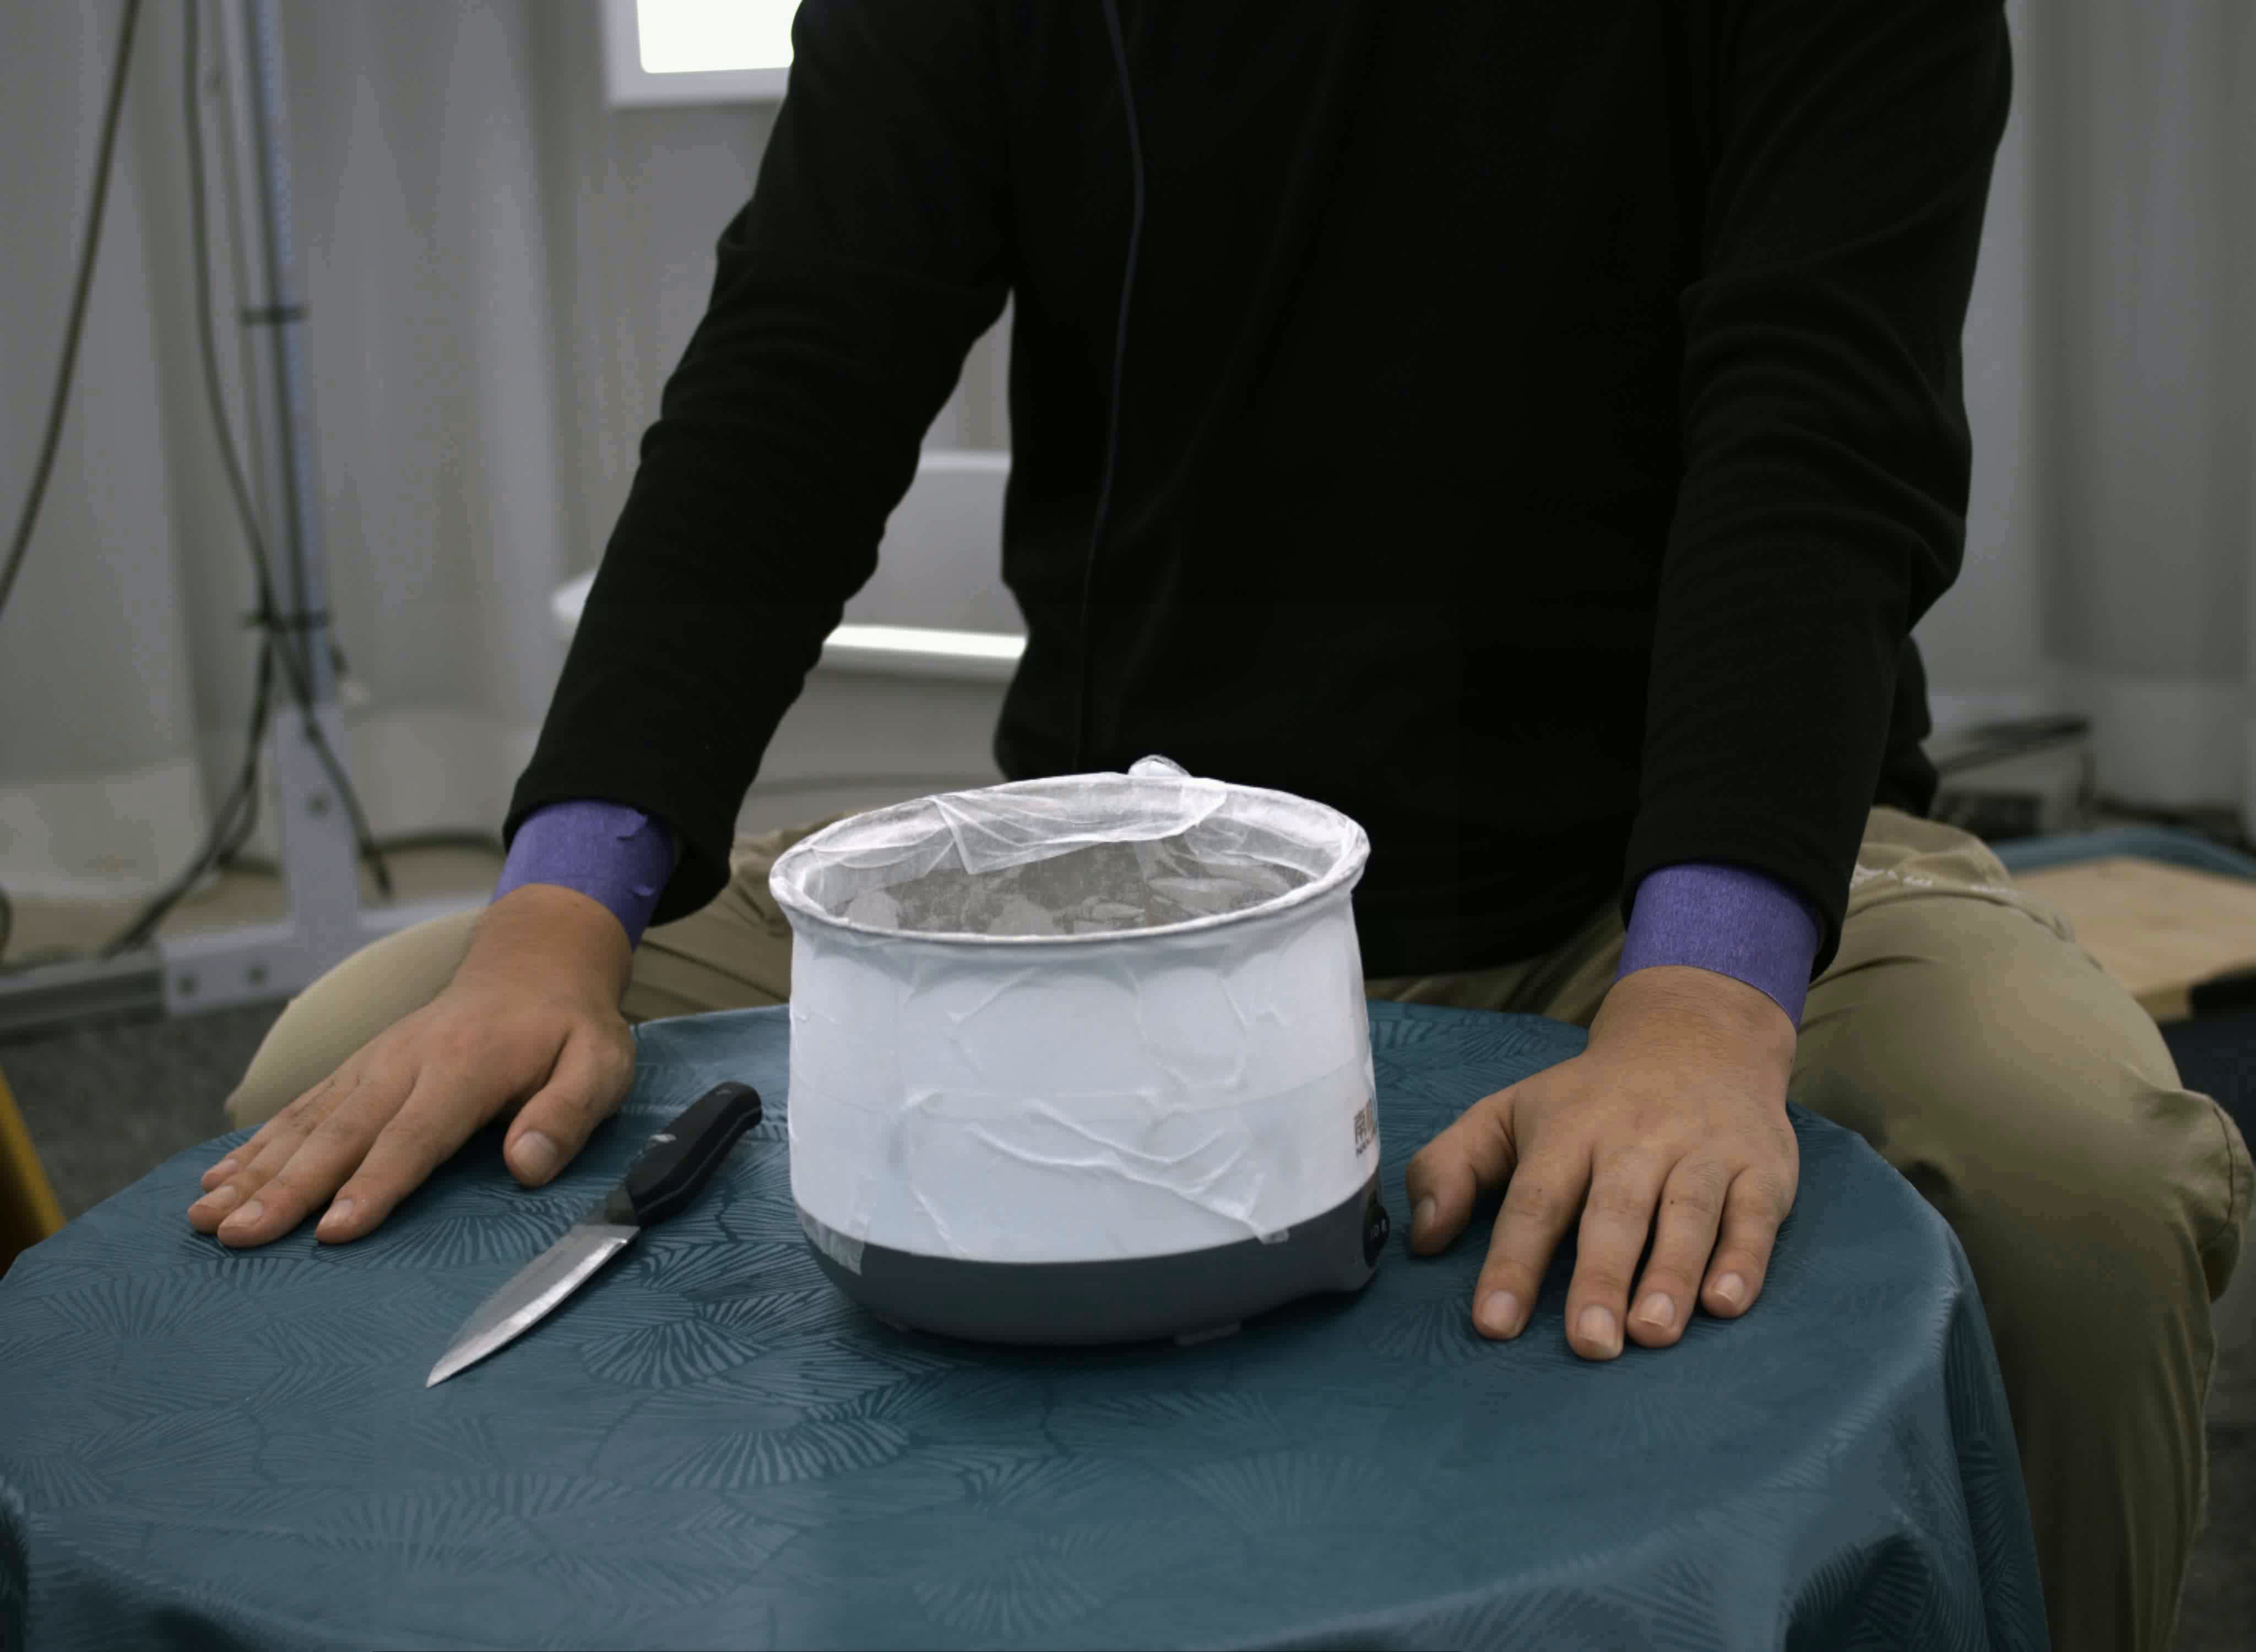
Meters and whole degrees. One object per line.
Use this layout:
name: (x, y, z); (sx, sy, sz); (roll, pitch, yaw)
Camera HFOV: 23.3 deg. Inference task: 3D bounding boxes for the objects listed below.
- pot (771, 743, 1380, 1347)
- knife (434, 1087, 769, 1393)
pot: (-0.008, 0.060, 1.647); (0.178, 0.136, 0.235); (2, 16, 14)
knife: (-0.163, 0.127, 1.680); (0.024, 0.016, 0.239); (2, 18, 19)
